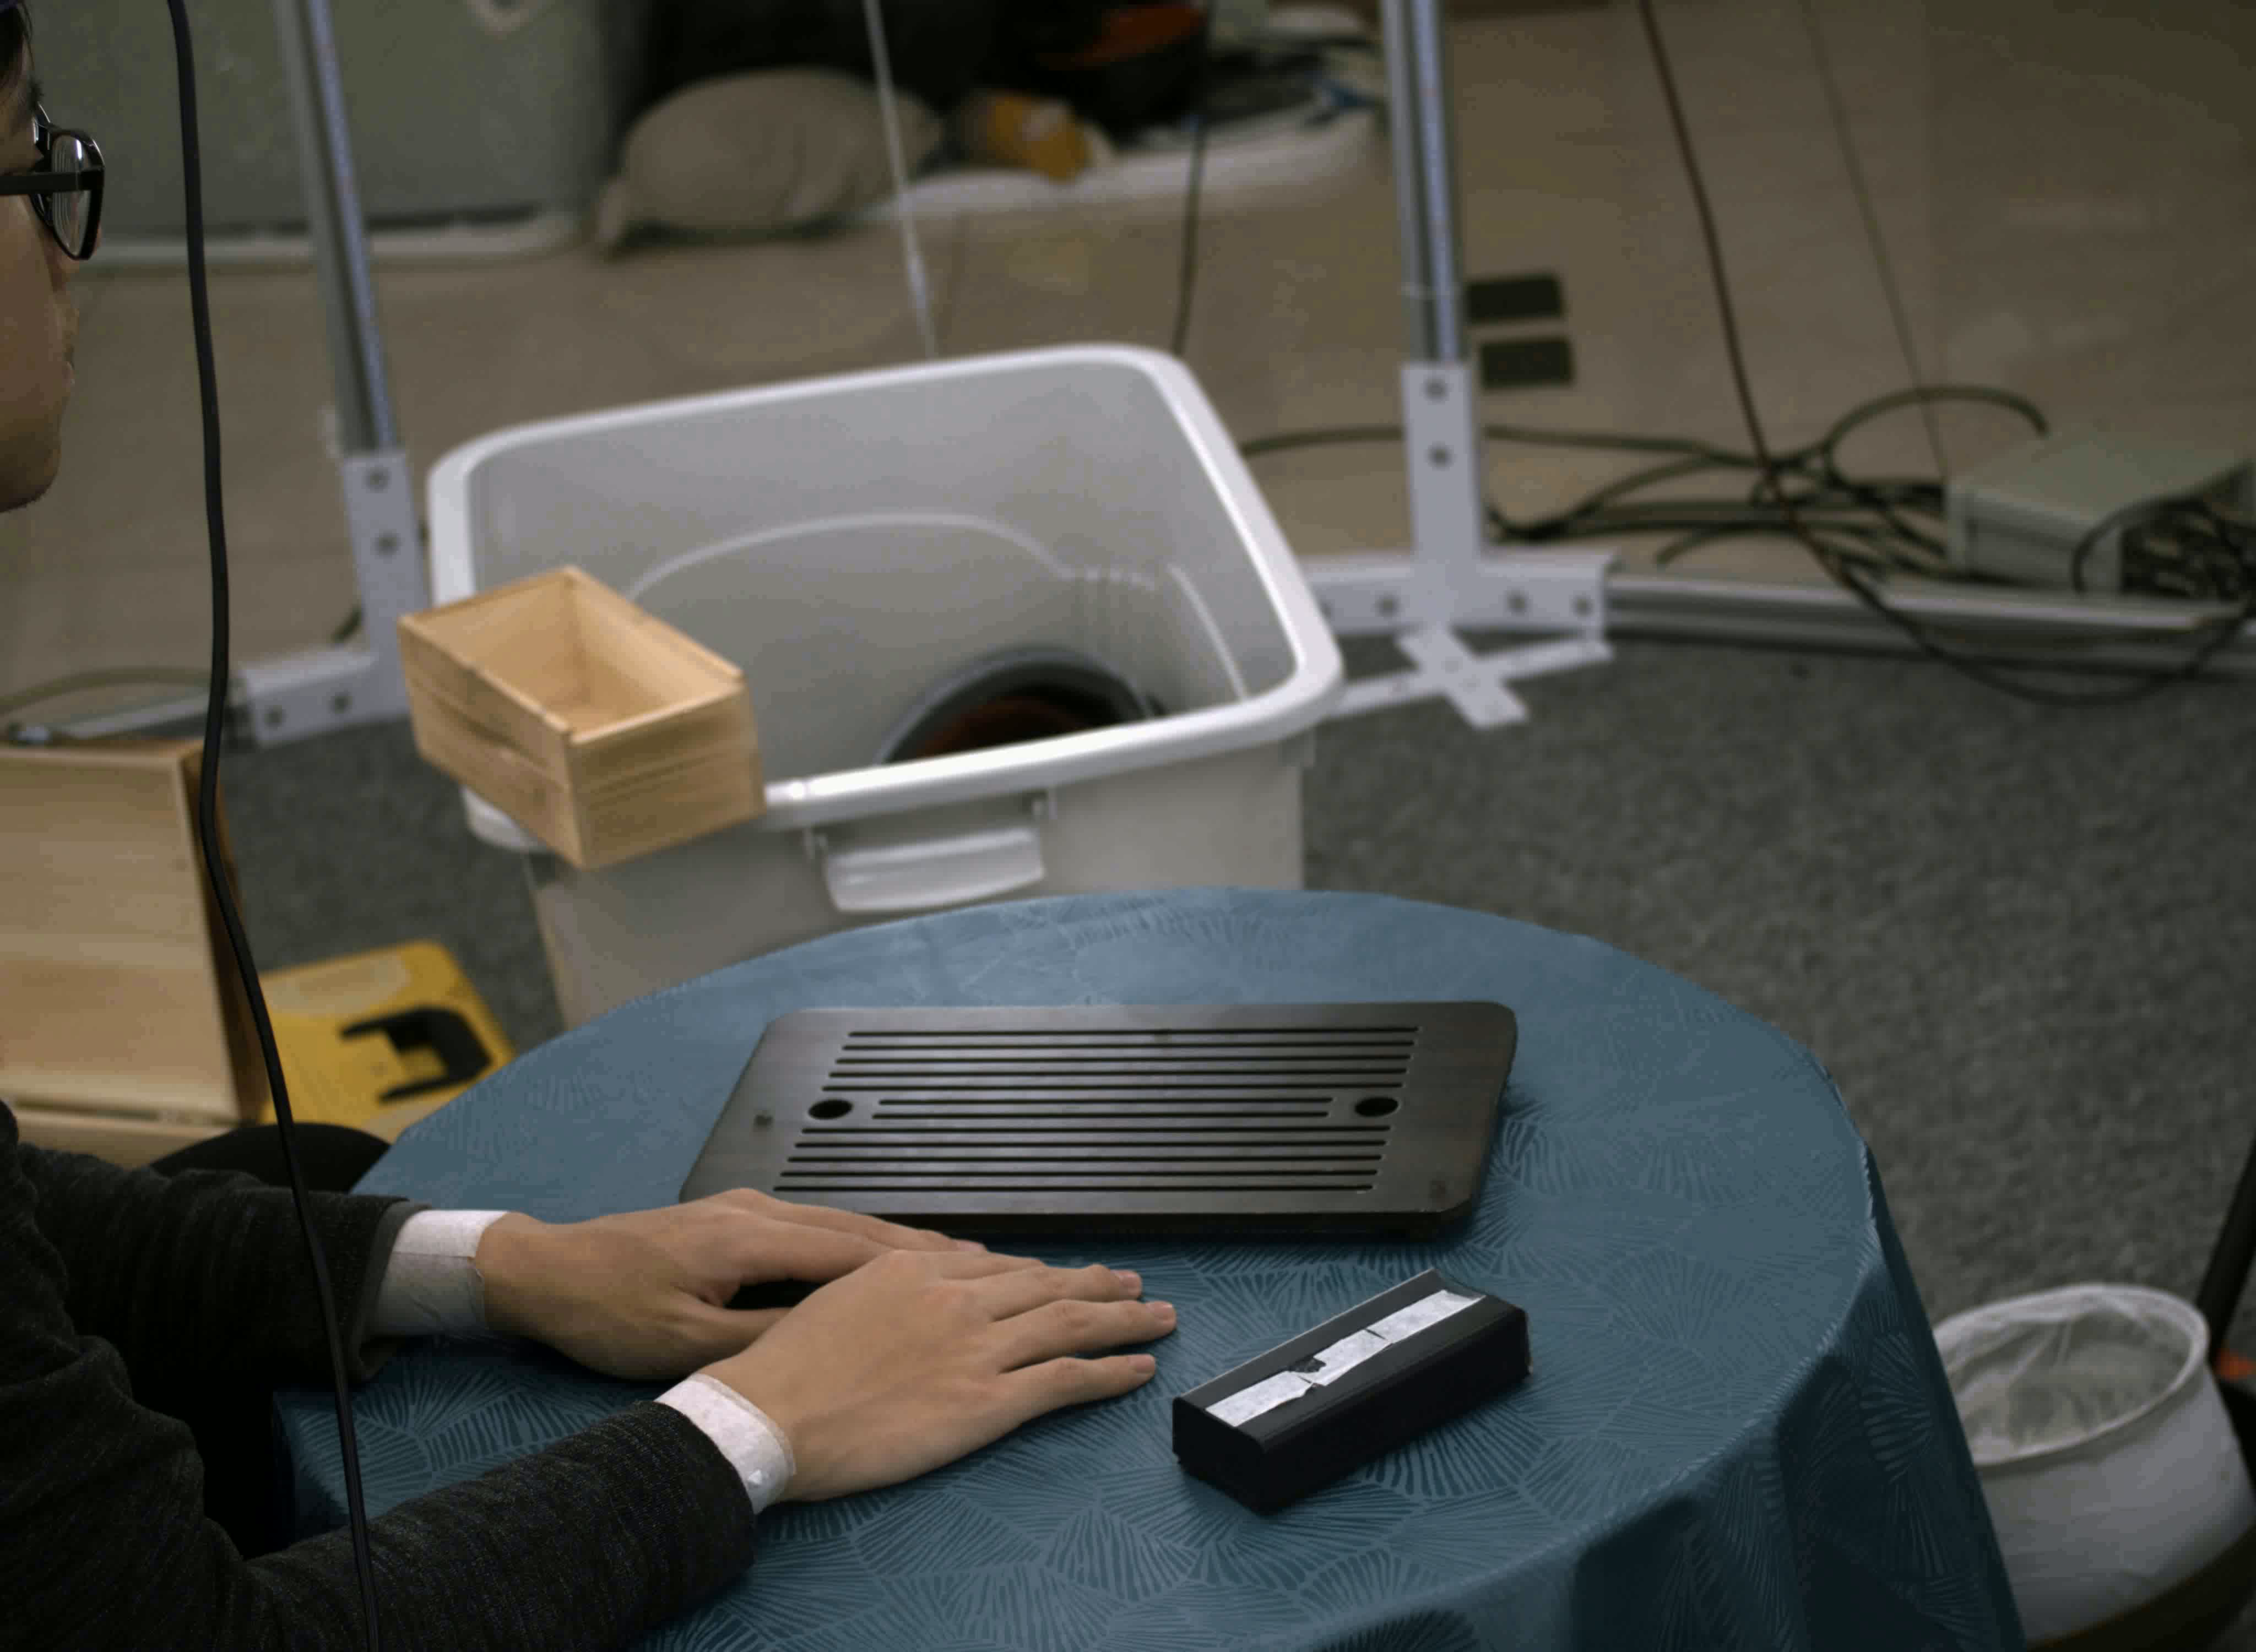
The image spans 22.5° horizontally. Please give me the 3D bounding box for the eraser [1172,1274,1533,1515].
[{"bbox_3d":[0.079,0.196,1.973,0.124,0.031,0.053,-25,28,-32],"label":"eraser"}]

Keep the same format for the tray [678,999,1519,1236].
[{"bbox_3d":[-0.009,0.113,2.185,0.305,0.019,0.167,-1,26,12],"label":"tray"}]
